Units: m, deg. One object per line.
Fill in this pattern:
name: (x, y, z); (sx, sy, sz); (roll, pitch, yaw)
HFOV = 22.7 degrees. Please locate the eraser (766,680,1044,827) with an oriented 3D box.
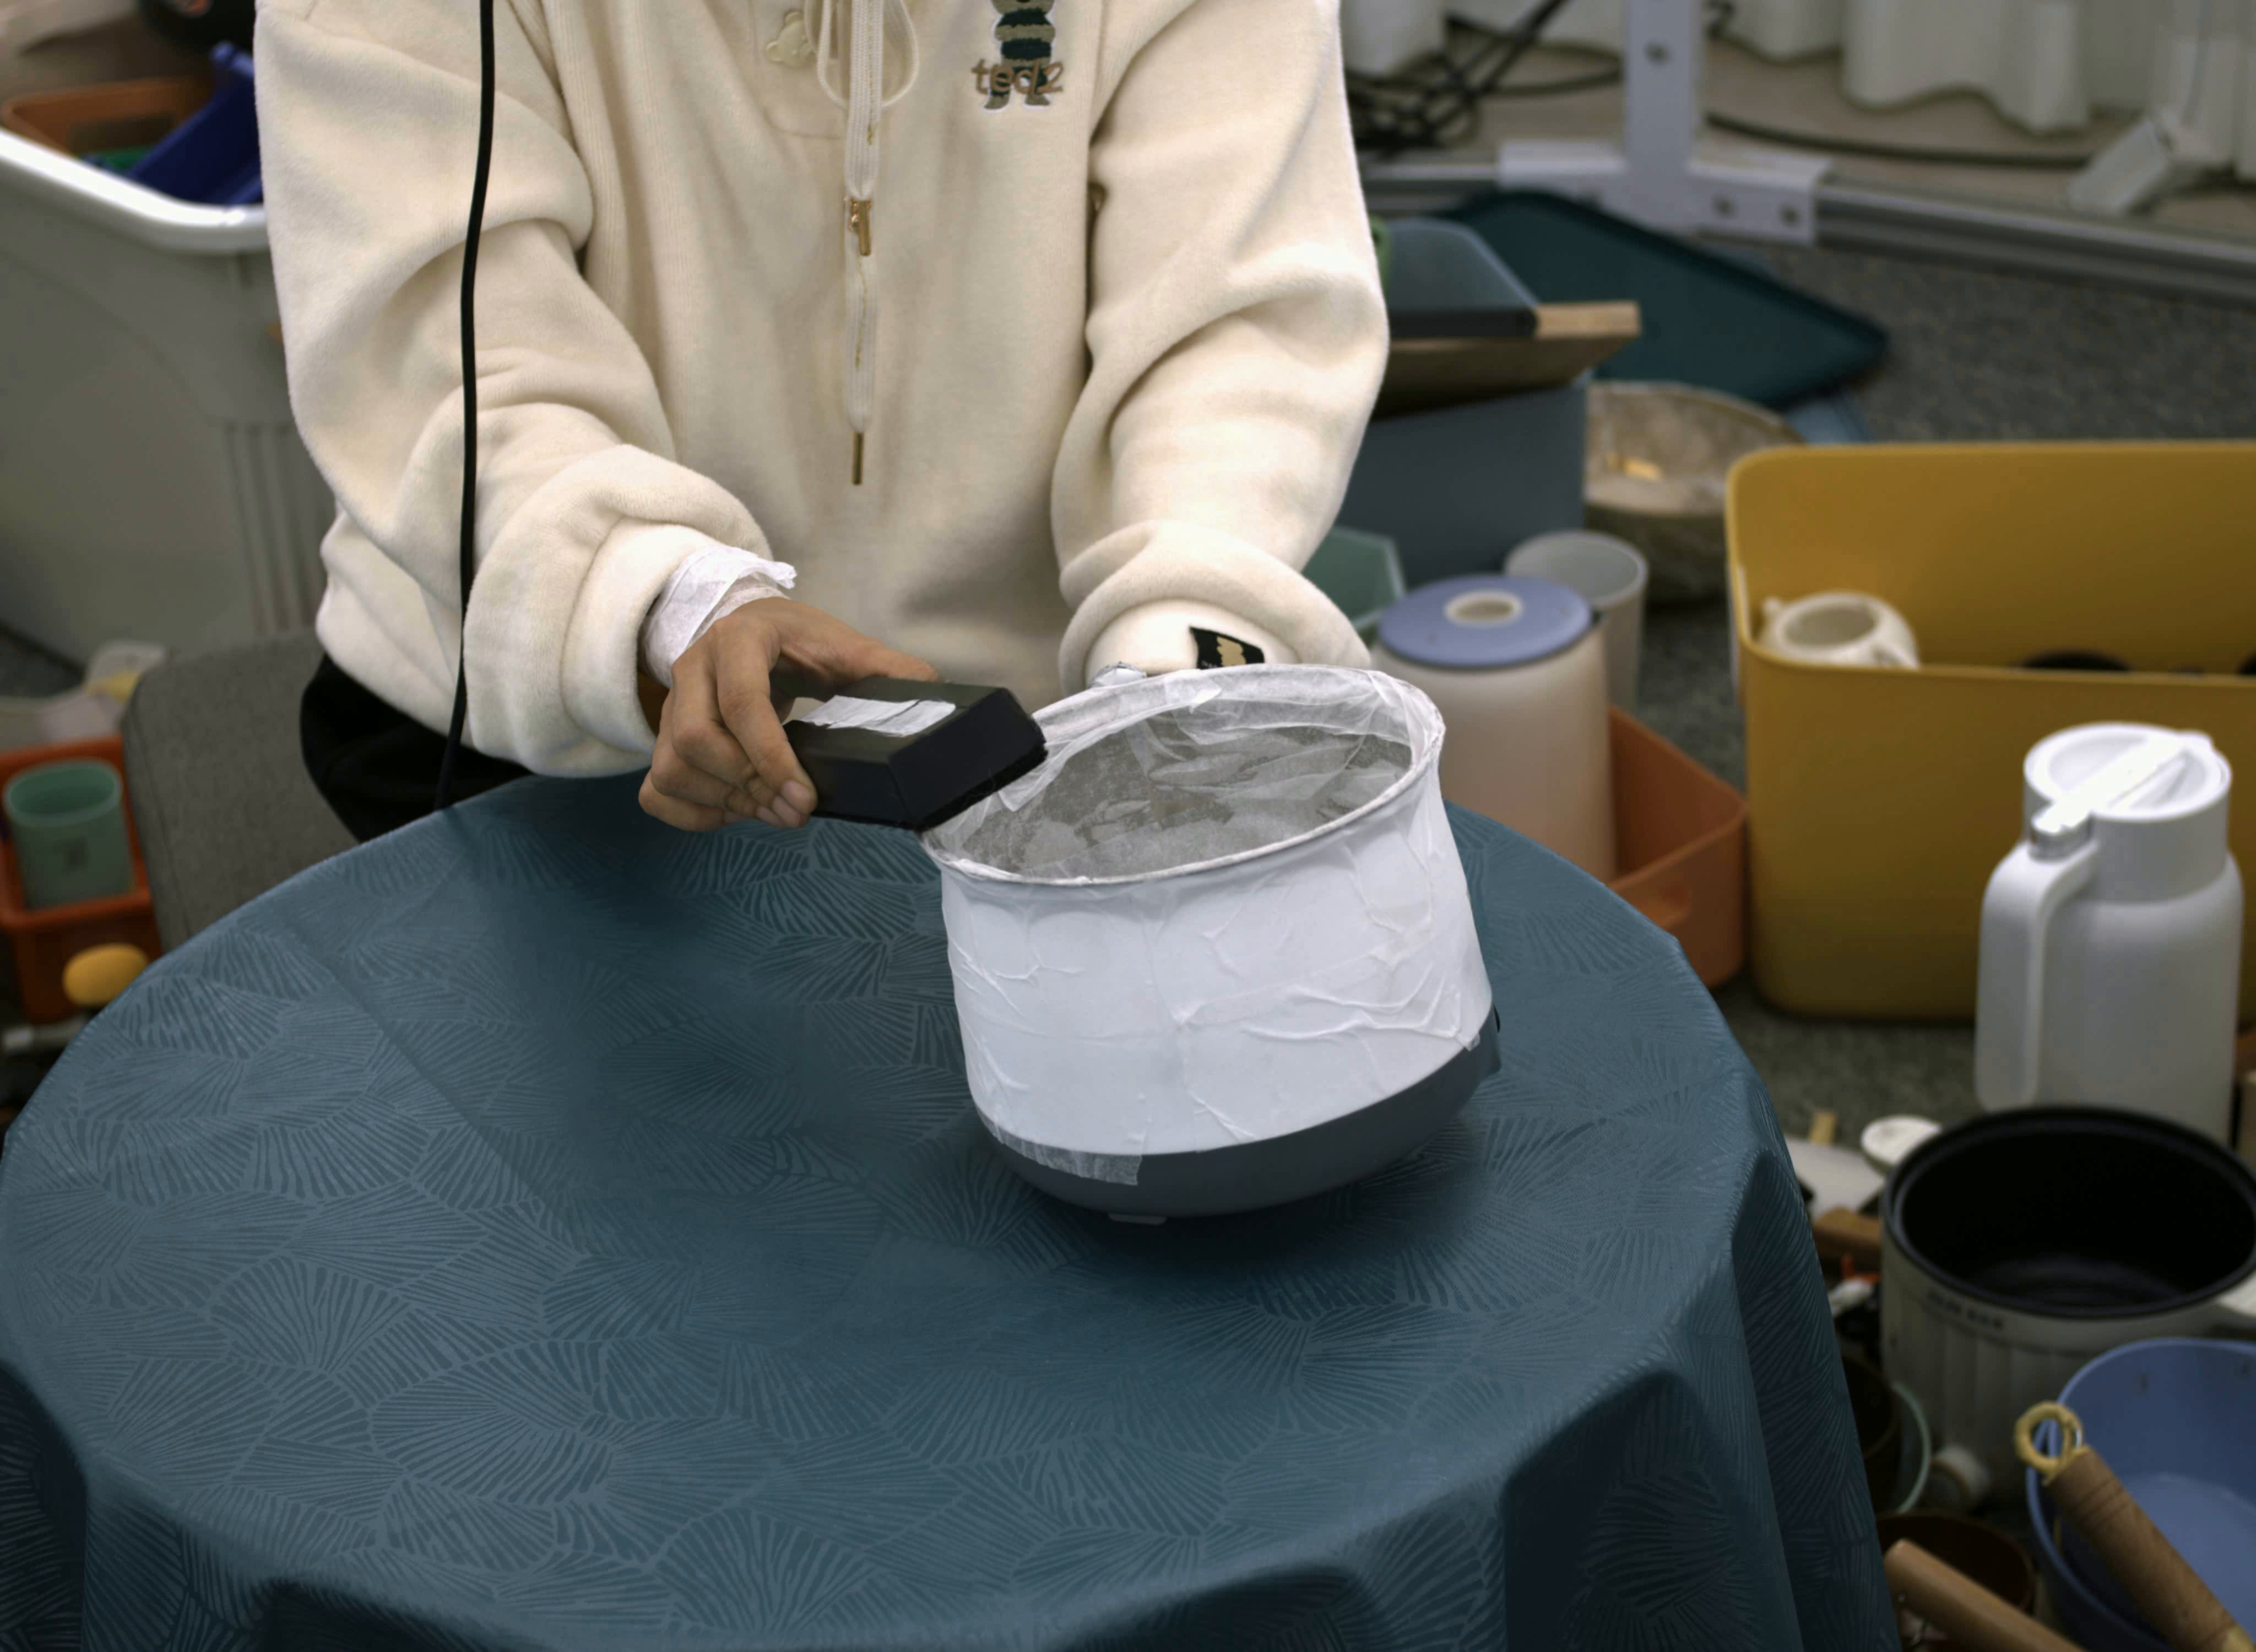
eraser: (-0.074, -0.025, 1.855); (0.054, 0.030, 0.125); (-30, 13, -19)

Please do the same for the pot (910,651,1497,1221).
pot: (0.020, 0.028, 1.874); (0.178, 0.135, 0.235); (-14, 22, -9)
